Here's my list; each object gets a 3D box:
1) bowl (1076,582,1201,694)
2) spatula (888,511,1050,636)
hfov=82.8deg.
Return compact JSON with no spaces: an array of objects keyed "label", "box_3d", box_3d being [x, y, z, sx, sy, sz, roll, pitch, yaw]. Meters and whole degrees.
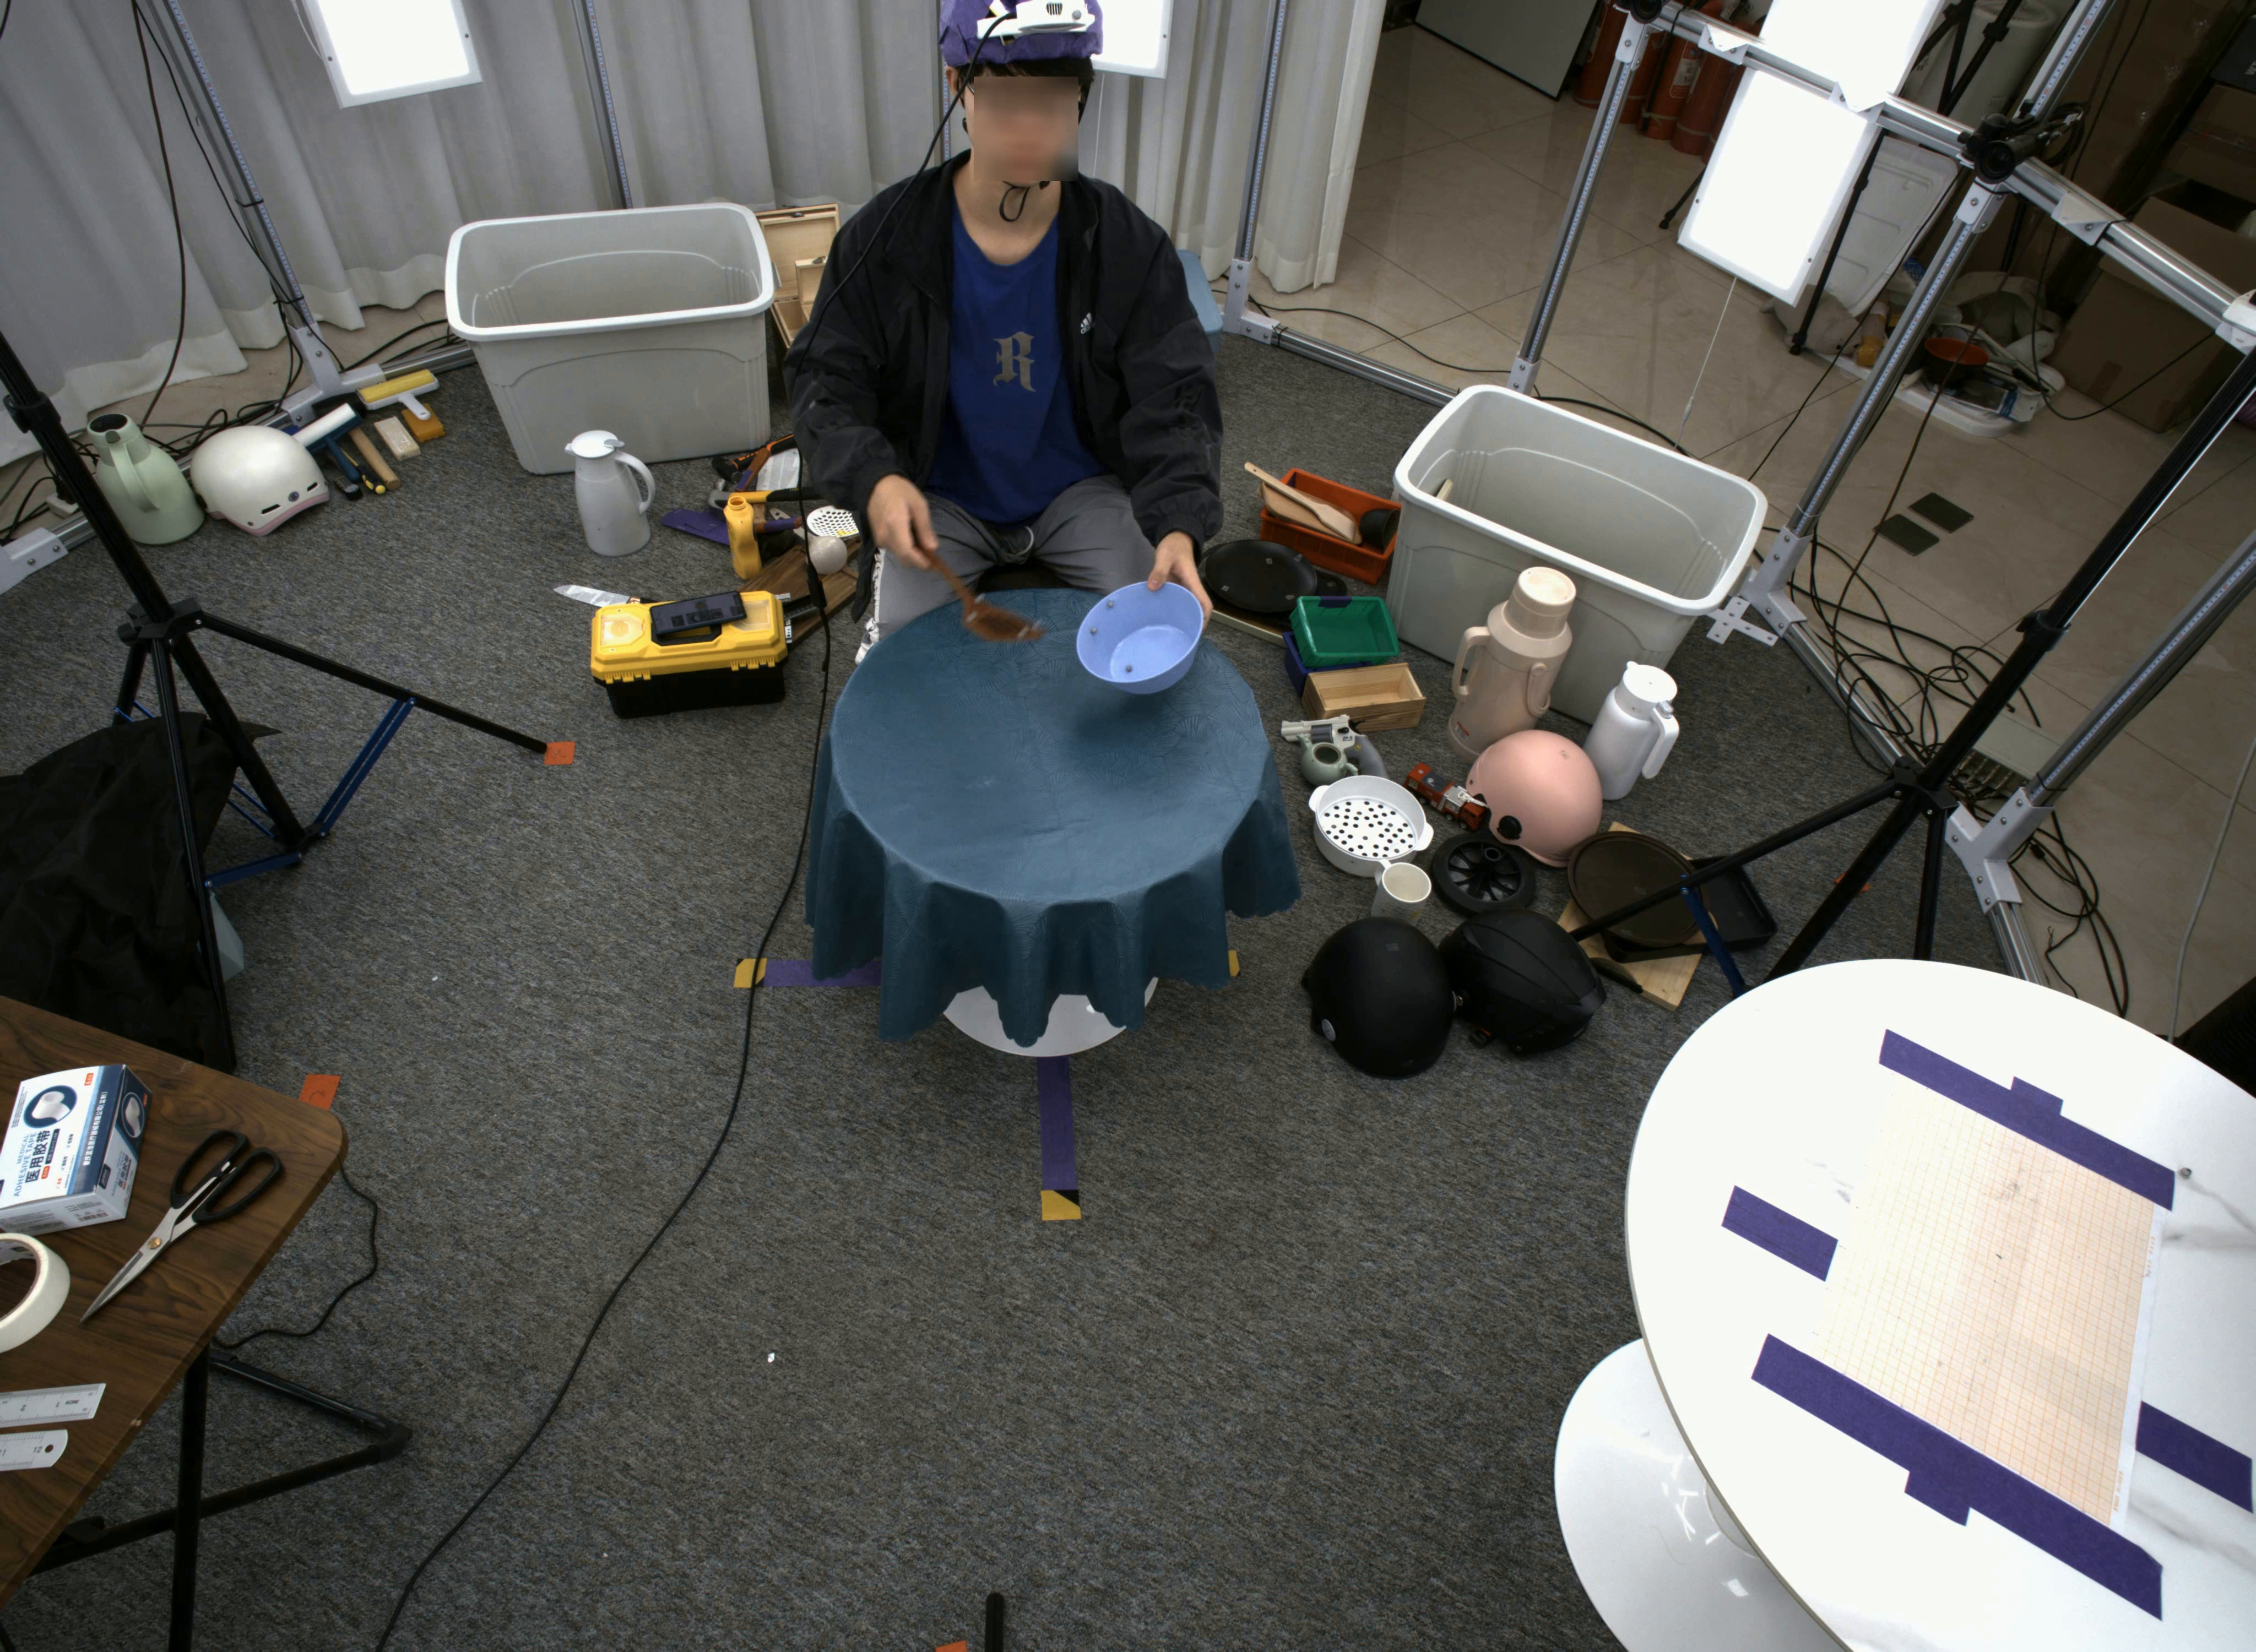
[{"label":"bowl","box_3d":[0.022,-0.245,1.744,0.176,0.068,0.180,-11,52,14]},{"label":"spatula","box_3d":[-0.229,-0.334,1.706,0.085,0.023,0.395,-12,40,-32]}]
